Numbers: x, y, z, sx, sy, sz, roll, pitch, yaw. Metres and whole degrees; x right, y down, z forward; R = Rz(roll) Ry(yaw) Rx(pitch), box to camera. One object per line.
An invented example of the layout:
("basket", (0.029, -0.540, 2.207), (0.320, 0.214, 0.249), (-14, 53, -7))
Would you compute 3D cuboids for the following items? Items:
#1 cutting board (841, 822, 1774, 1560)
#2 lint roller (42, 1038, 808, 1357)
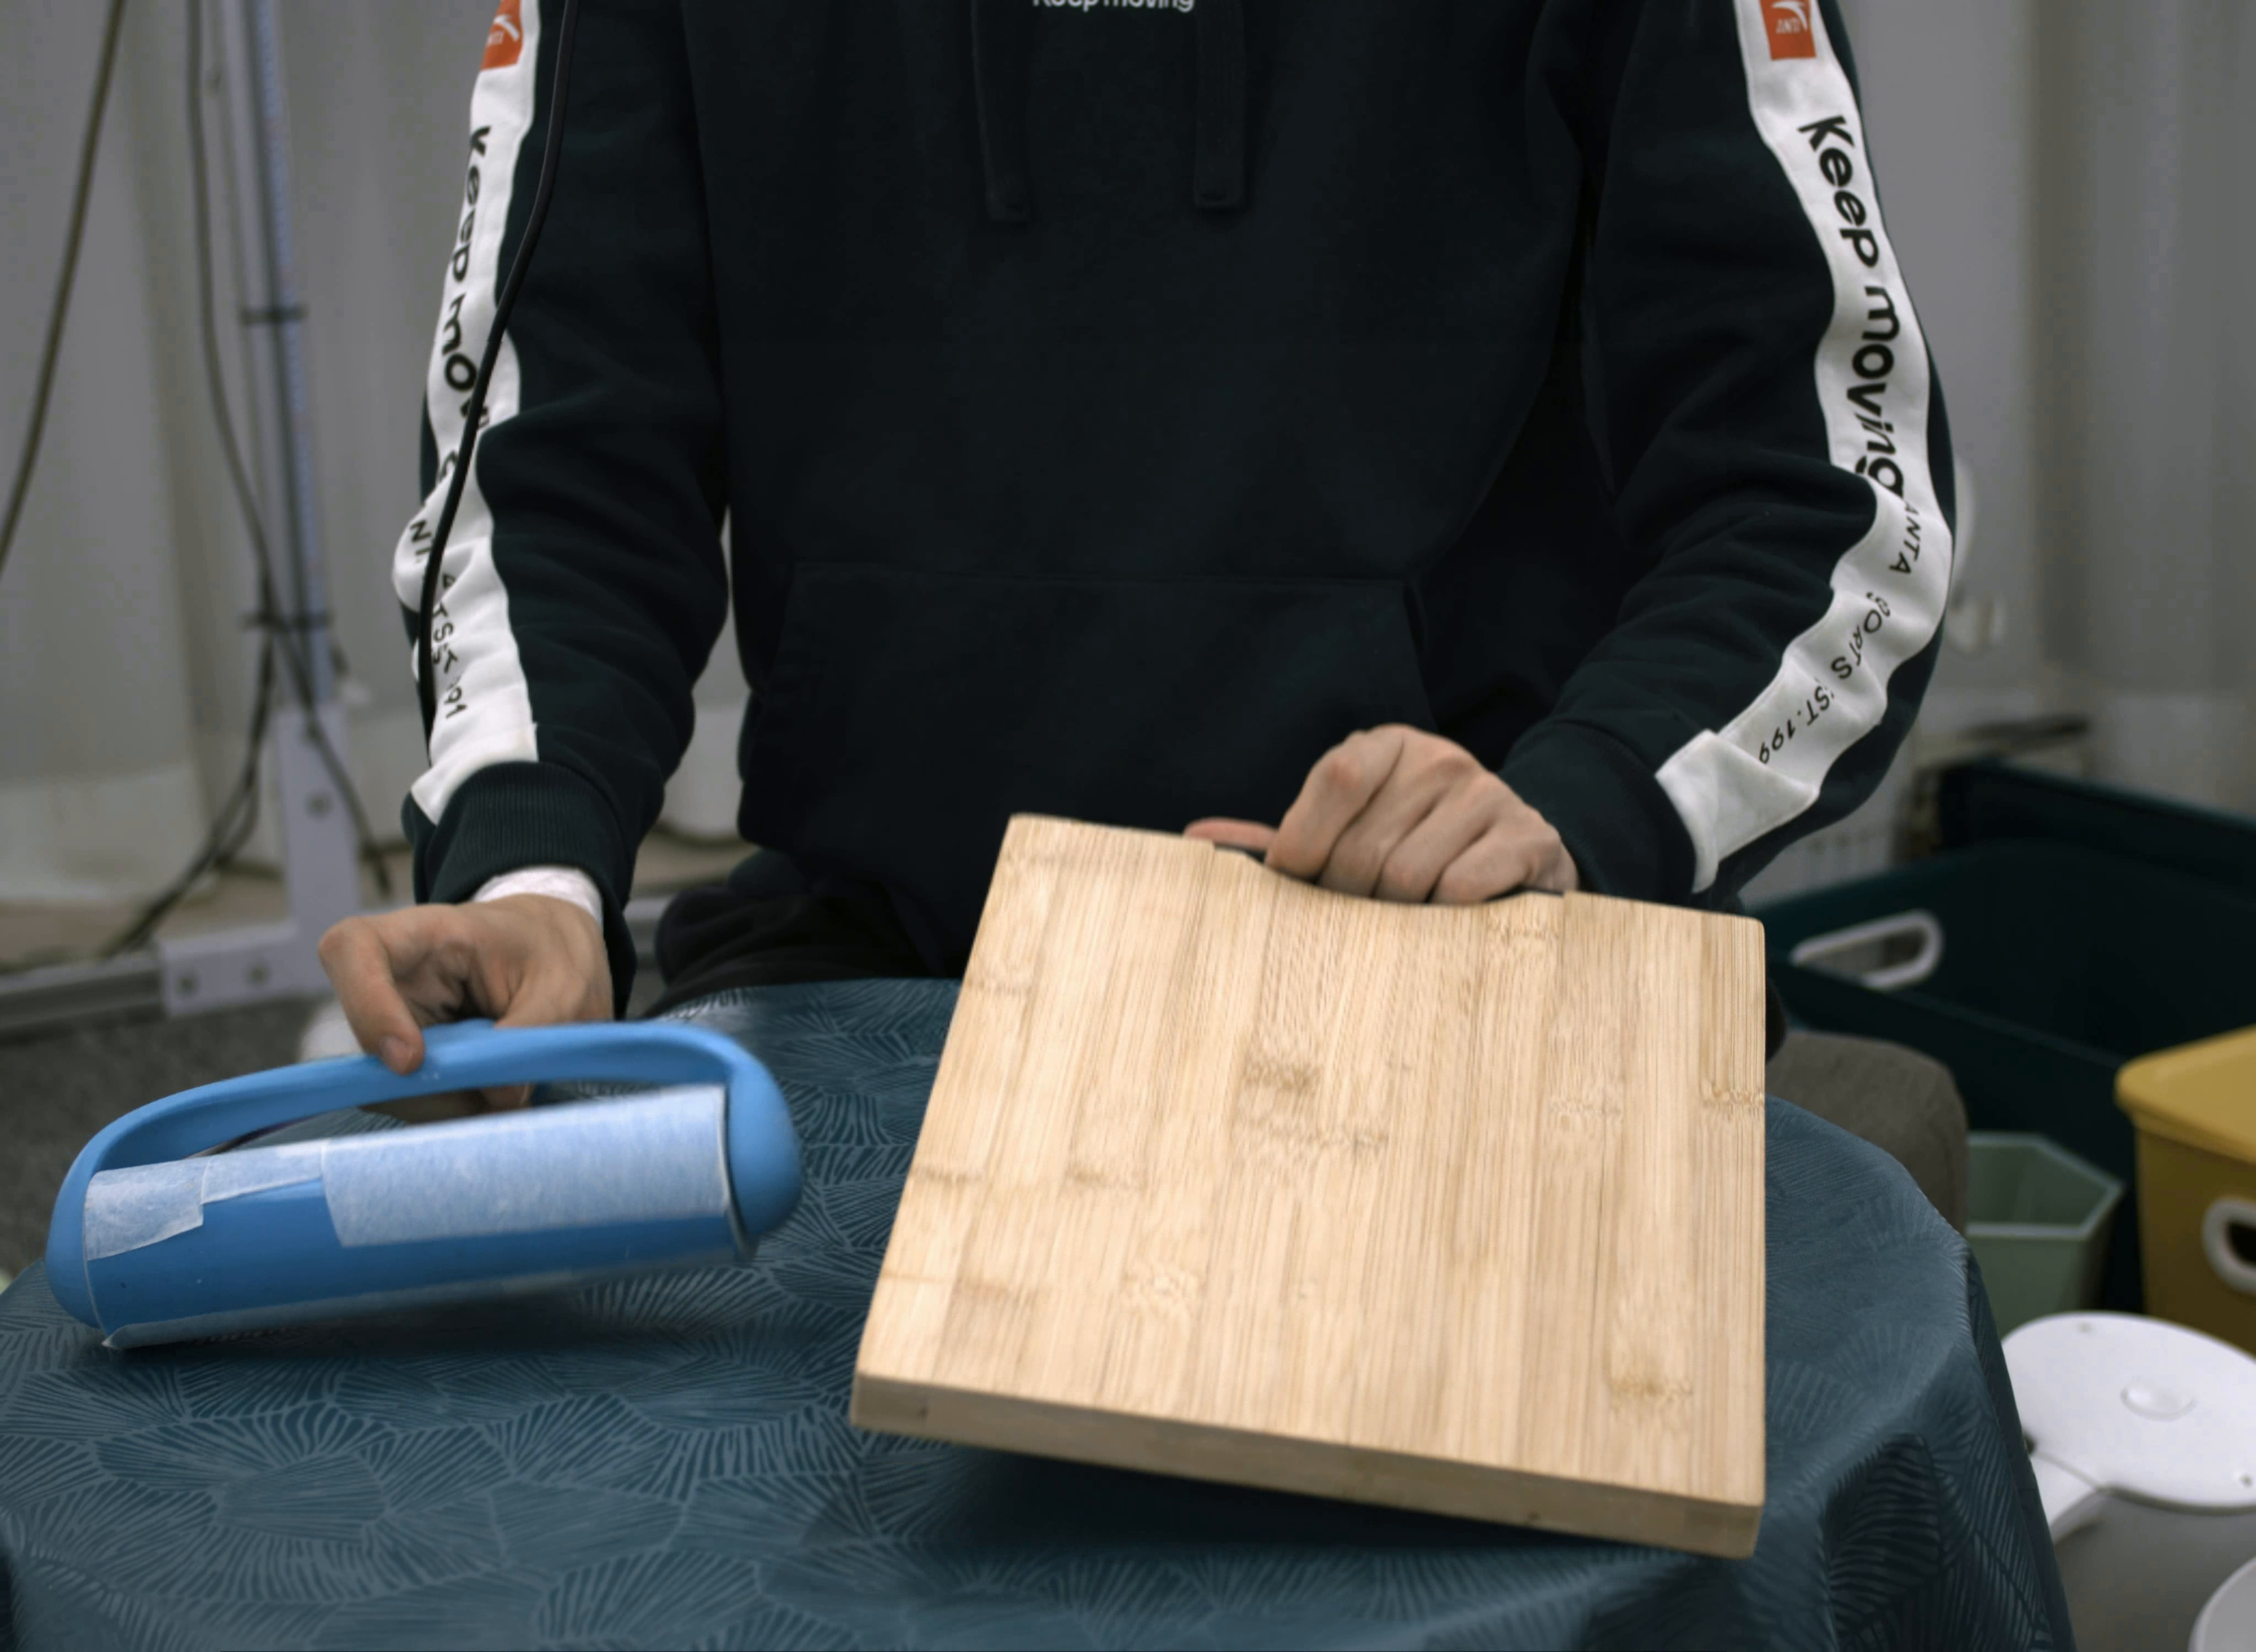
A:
("cutting board", (0.064, 0.095, 1.573), (0.250, 0.023, 0.352), (7, 26, 3))
("lint roller", (-0.207, 0.097, 1.665), (0.228, 0.067, 0.182), (-9, 20, 4))
